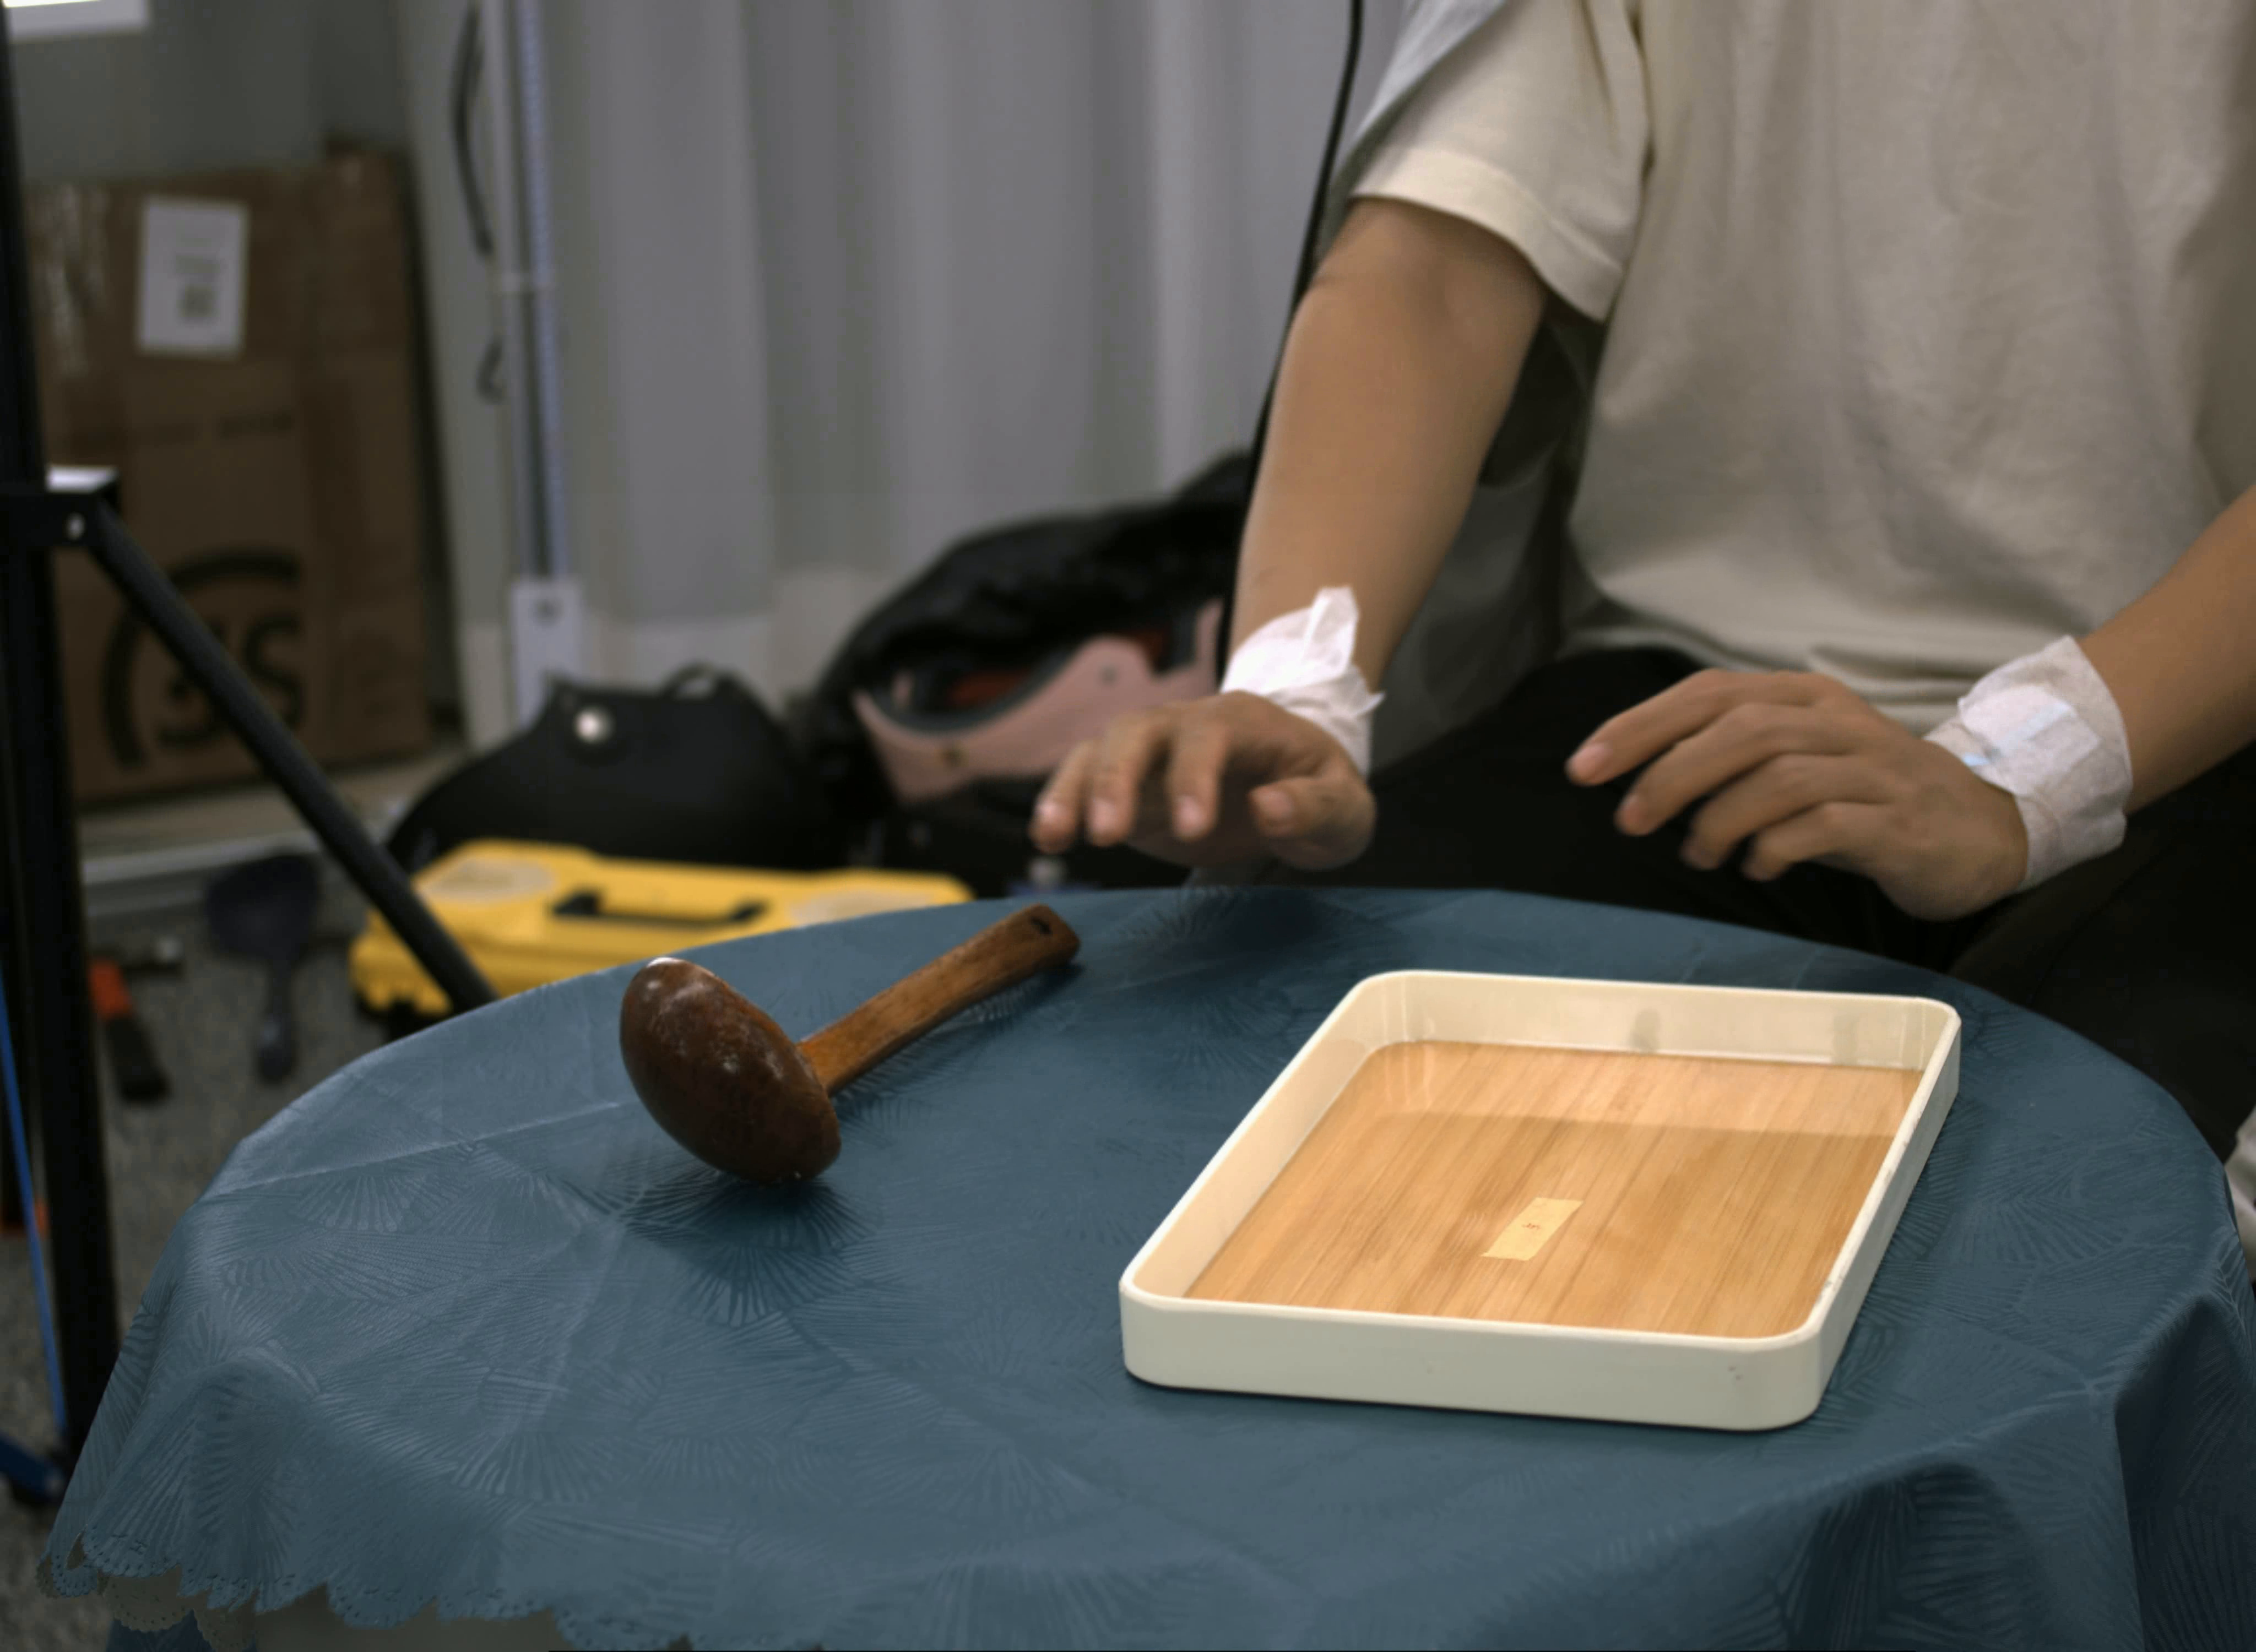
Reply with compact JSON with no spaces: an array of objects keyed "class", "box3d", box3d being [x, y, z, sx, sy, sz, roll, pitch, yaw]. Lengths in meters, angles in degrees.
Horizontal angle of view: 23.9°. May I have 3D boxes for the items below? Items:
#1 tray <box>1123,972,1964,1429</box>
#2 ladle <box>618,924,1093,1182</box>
[{"class":"tray","box3d":[0.126,0.101,1.508,0.193,0.027,0.297,2,16,17]},{"class":"ladle","box3d":[-0.069,0.048,1.653,0.083,0.077,0.269,46,31,11]}]
